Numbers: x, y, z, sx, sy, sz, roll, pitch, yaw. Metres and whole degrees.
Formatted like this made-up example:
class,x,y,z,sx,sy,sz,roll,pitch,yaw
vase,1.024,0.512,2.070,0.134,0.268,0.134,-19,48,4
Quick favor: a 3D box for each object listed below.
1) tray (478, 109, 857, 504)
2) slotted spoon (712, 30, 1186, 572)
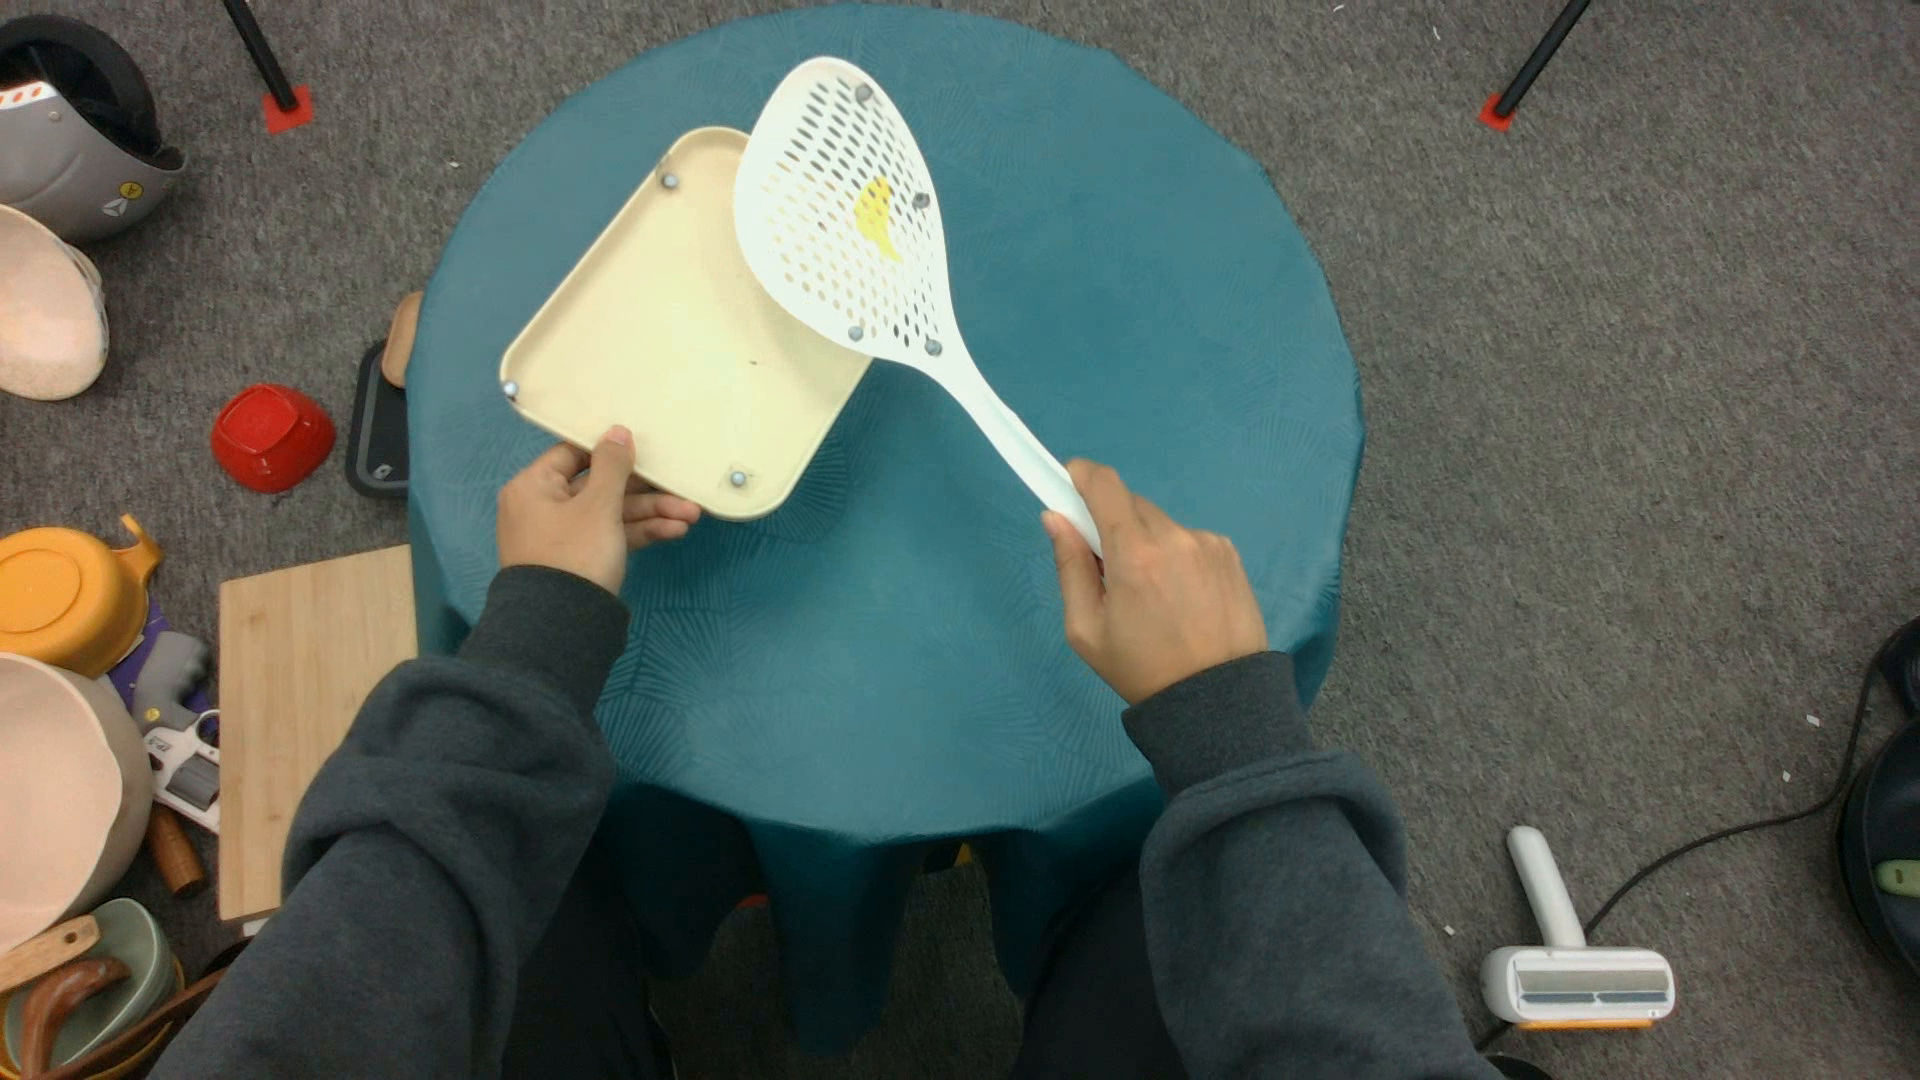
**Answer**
class,x,y,z,sx,sy,sz,roll,pitch,yaw
tray,-0.147,-0.139,0.791,0.171,0.017,0.241,27,60,-1
slotted spoon,-0.010,-0.112,0.695,0.050,0.136,0.348,-8,56,-49
